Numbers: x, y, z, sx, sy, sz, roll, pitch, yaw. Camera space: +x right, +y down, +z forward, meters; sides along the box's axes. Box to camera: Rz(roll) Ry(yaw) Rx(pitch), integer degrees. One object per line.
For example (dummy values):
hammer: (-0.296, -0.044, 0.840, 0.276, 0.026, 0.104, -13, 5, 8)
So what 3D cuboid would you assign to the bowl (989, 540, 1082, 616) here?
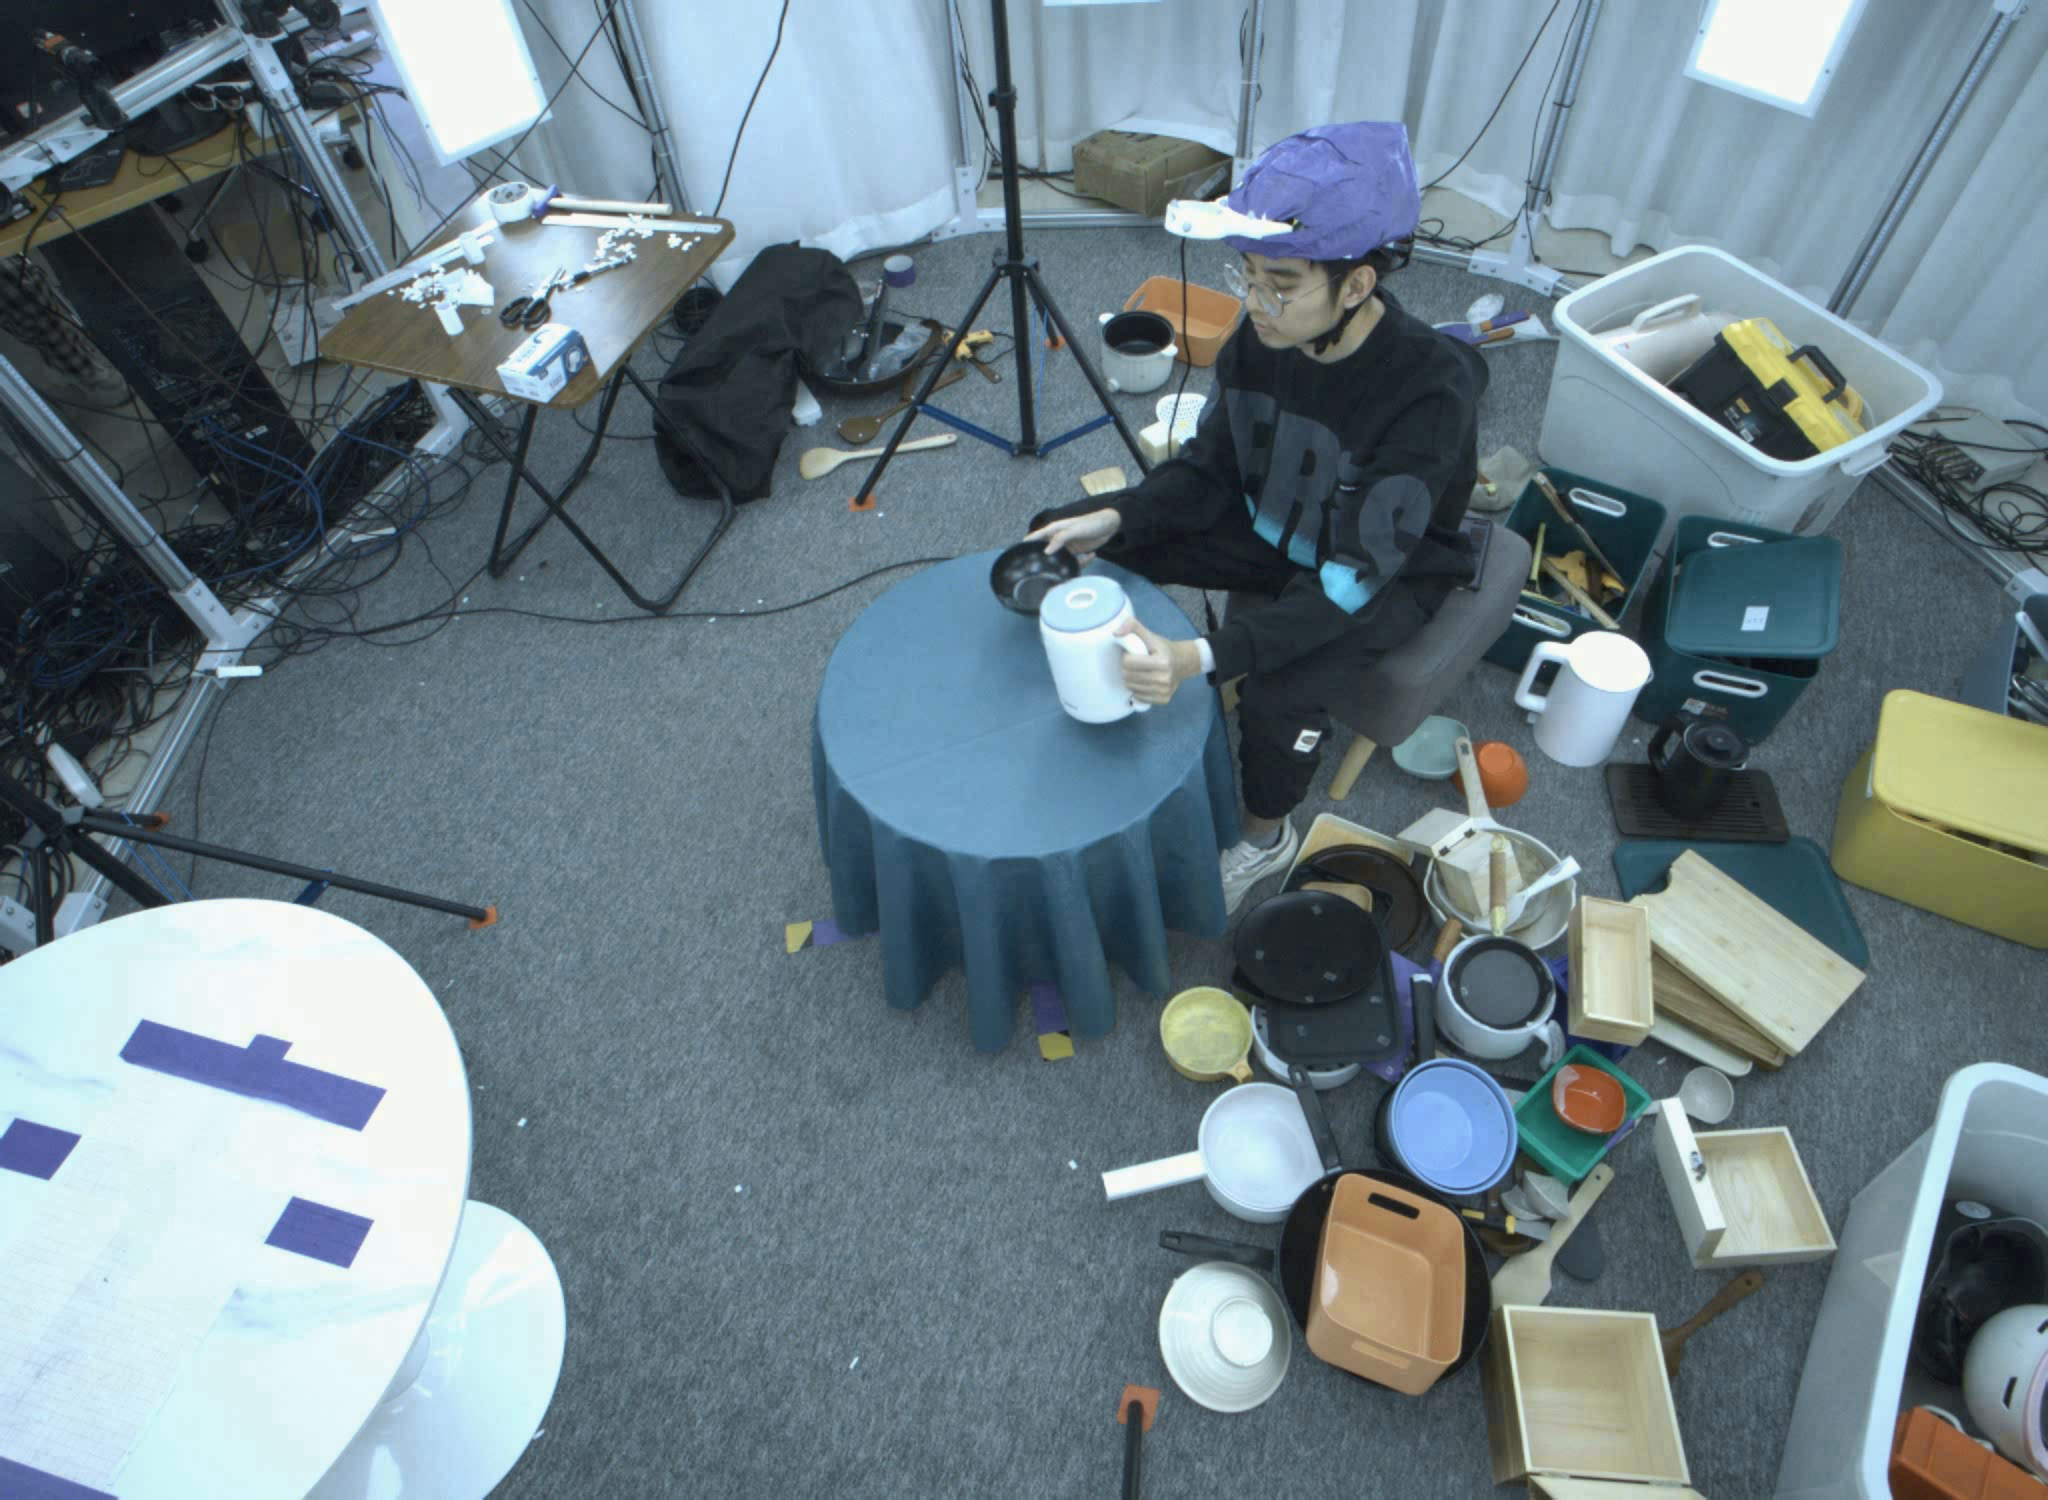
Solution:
bowl: (0.018, -0.250, 1.853, 0.140, 0.050, 0.138, -1, 57, 3)

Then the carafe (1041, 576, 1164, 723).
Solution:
carafe: (0.116, -0.129, 1.709, 0.133, 0.185, 0.187, -41, 51, -22)
